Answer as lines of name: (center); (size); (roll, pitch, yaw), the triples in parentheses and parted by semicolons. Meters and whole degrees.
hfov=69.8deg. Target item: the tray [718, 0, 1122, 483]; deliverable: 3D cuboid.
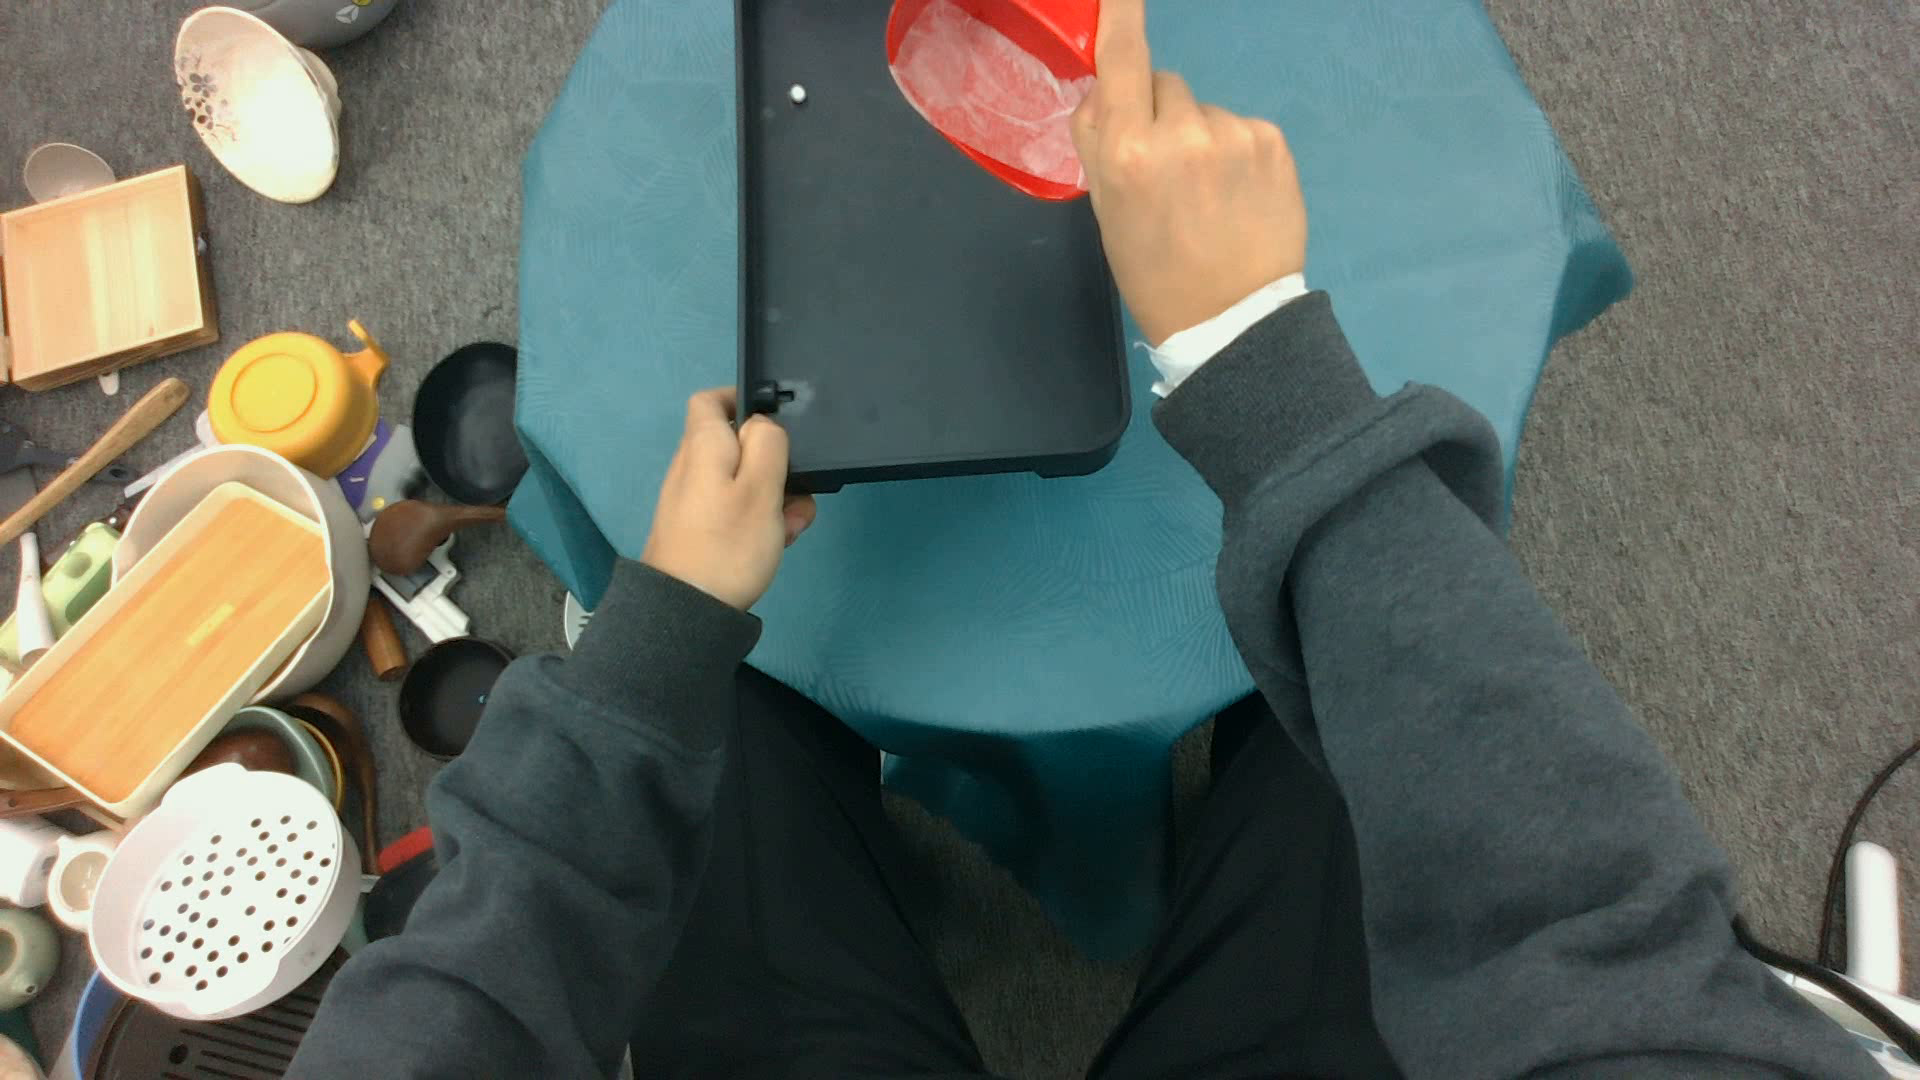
tray: (-0.027, -0.183, 0.692); (0.184, 0.037, 0.319); (-4, 69, 0)

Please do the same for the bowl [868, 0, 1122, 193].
bowl: (0.022, -0.205, 0.574); (0.119, 0.118, 0.051); (31, 70, 12)
